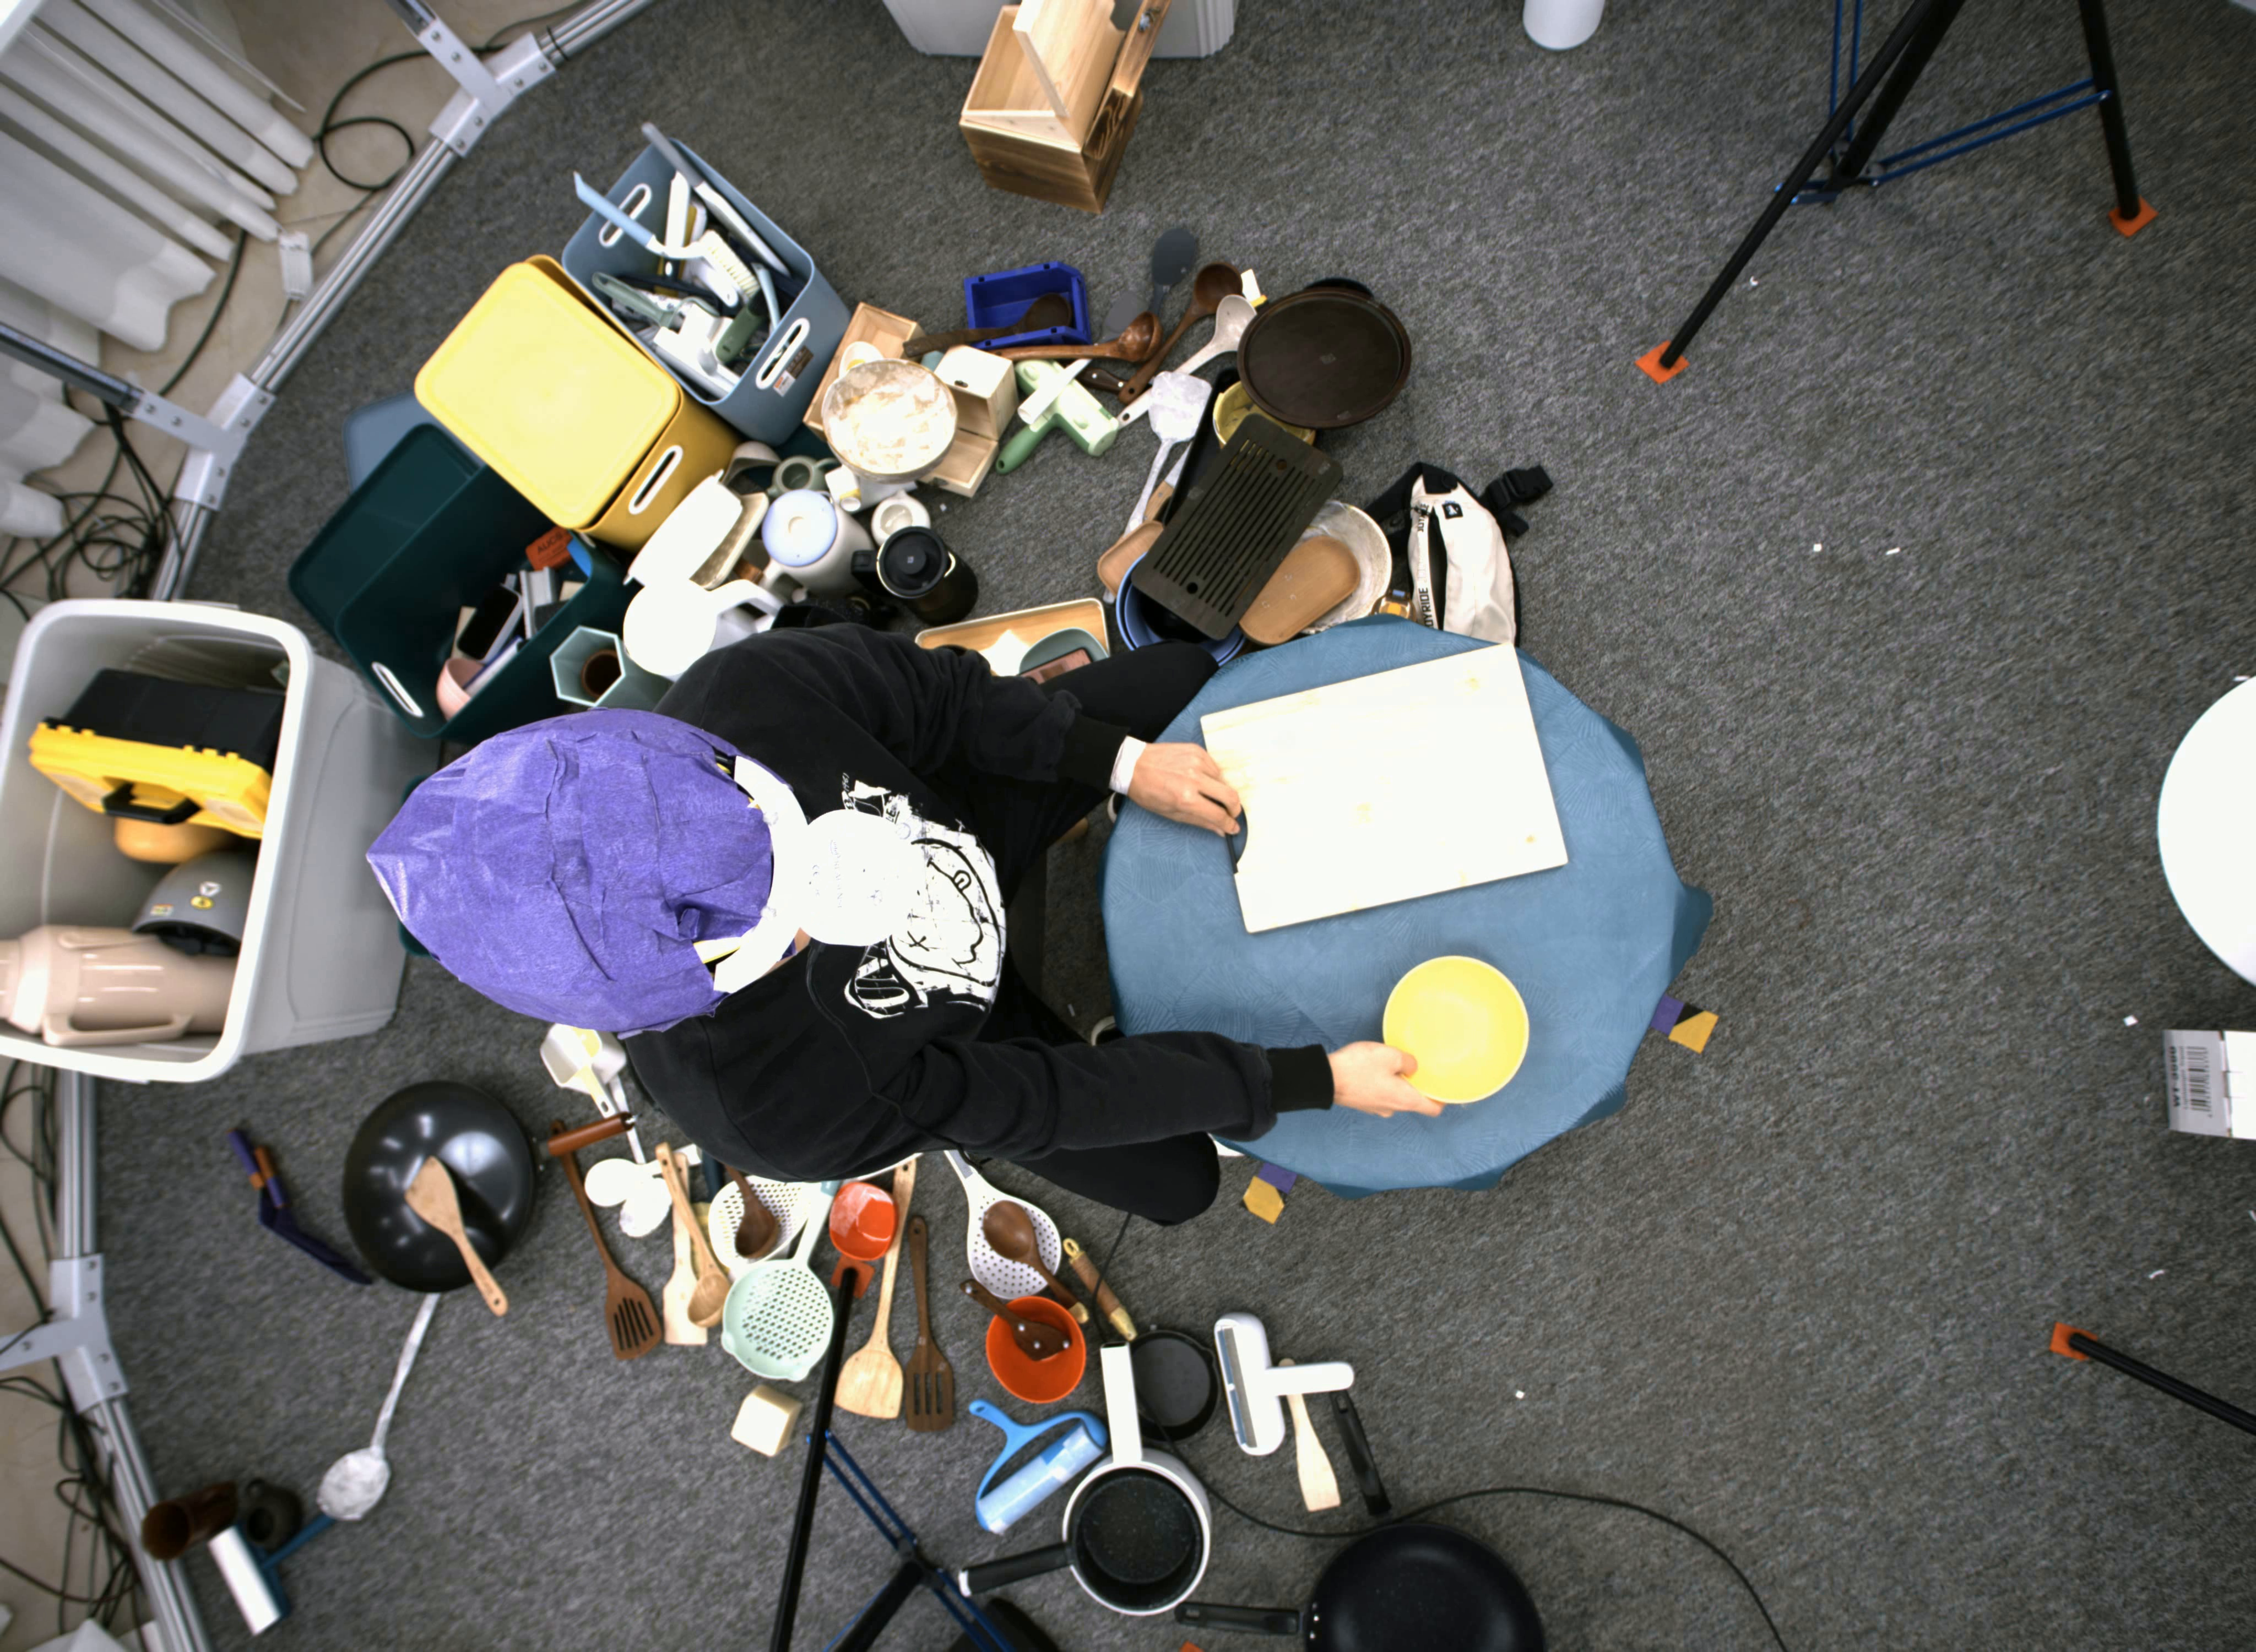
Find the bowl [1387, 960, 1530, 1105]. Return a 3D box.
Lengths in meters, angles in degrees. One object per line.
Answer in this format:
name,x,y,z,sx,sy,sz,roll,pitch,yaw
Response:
bowl,0.331,0.209,1.403,0.145,0.060,0.144,-1,80,3

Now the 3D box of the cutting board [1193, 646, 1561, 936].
cutting board,0.264,-0.037,1.465,0.350,0.023,0.249,-14,84,9
